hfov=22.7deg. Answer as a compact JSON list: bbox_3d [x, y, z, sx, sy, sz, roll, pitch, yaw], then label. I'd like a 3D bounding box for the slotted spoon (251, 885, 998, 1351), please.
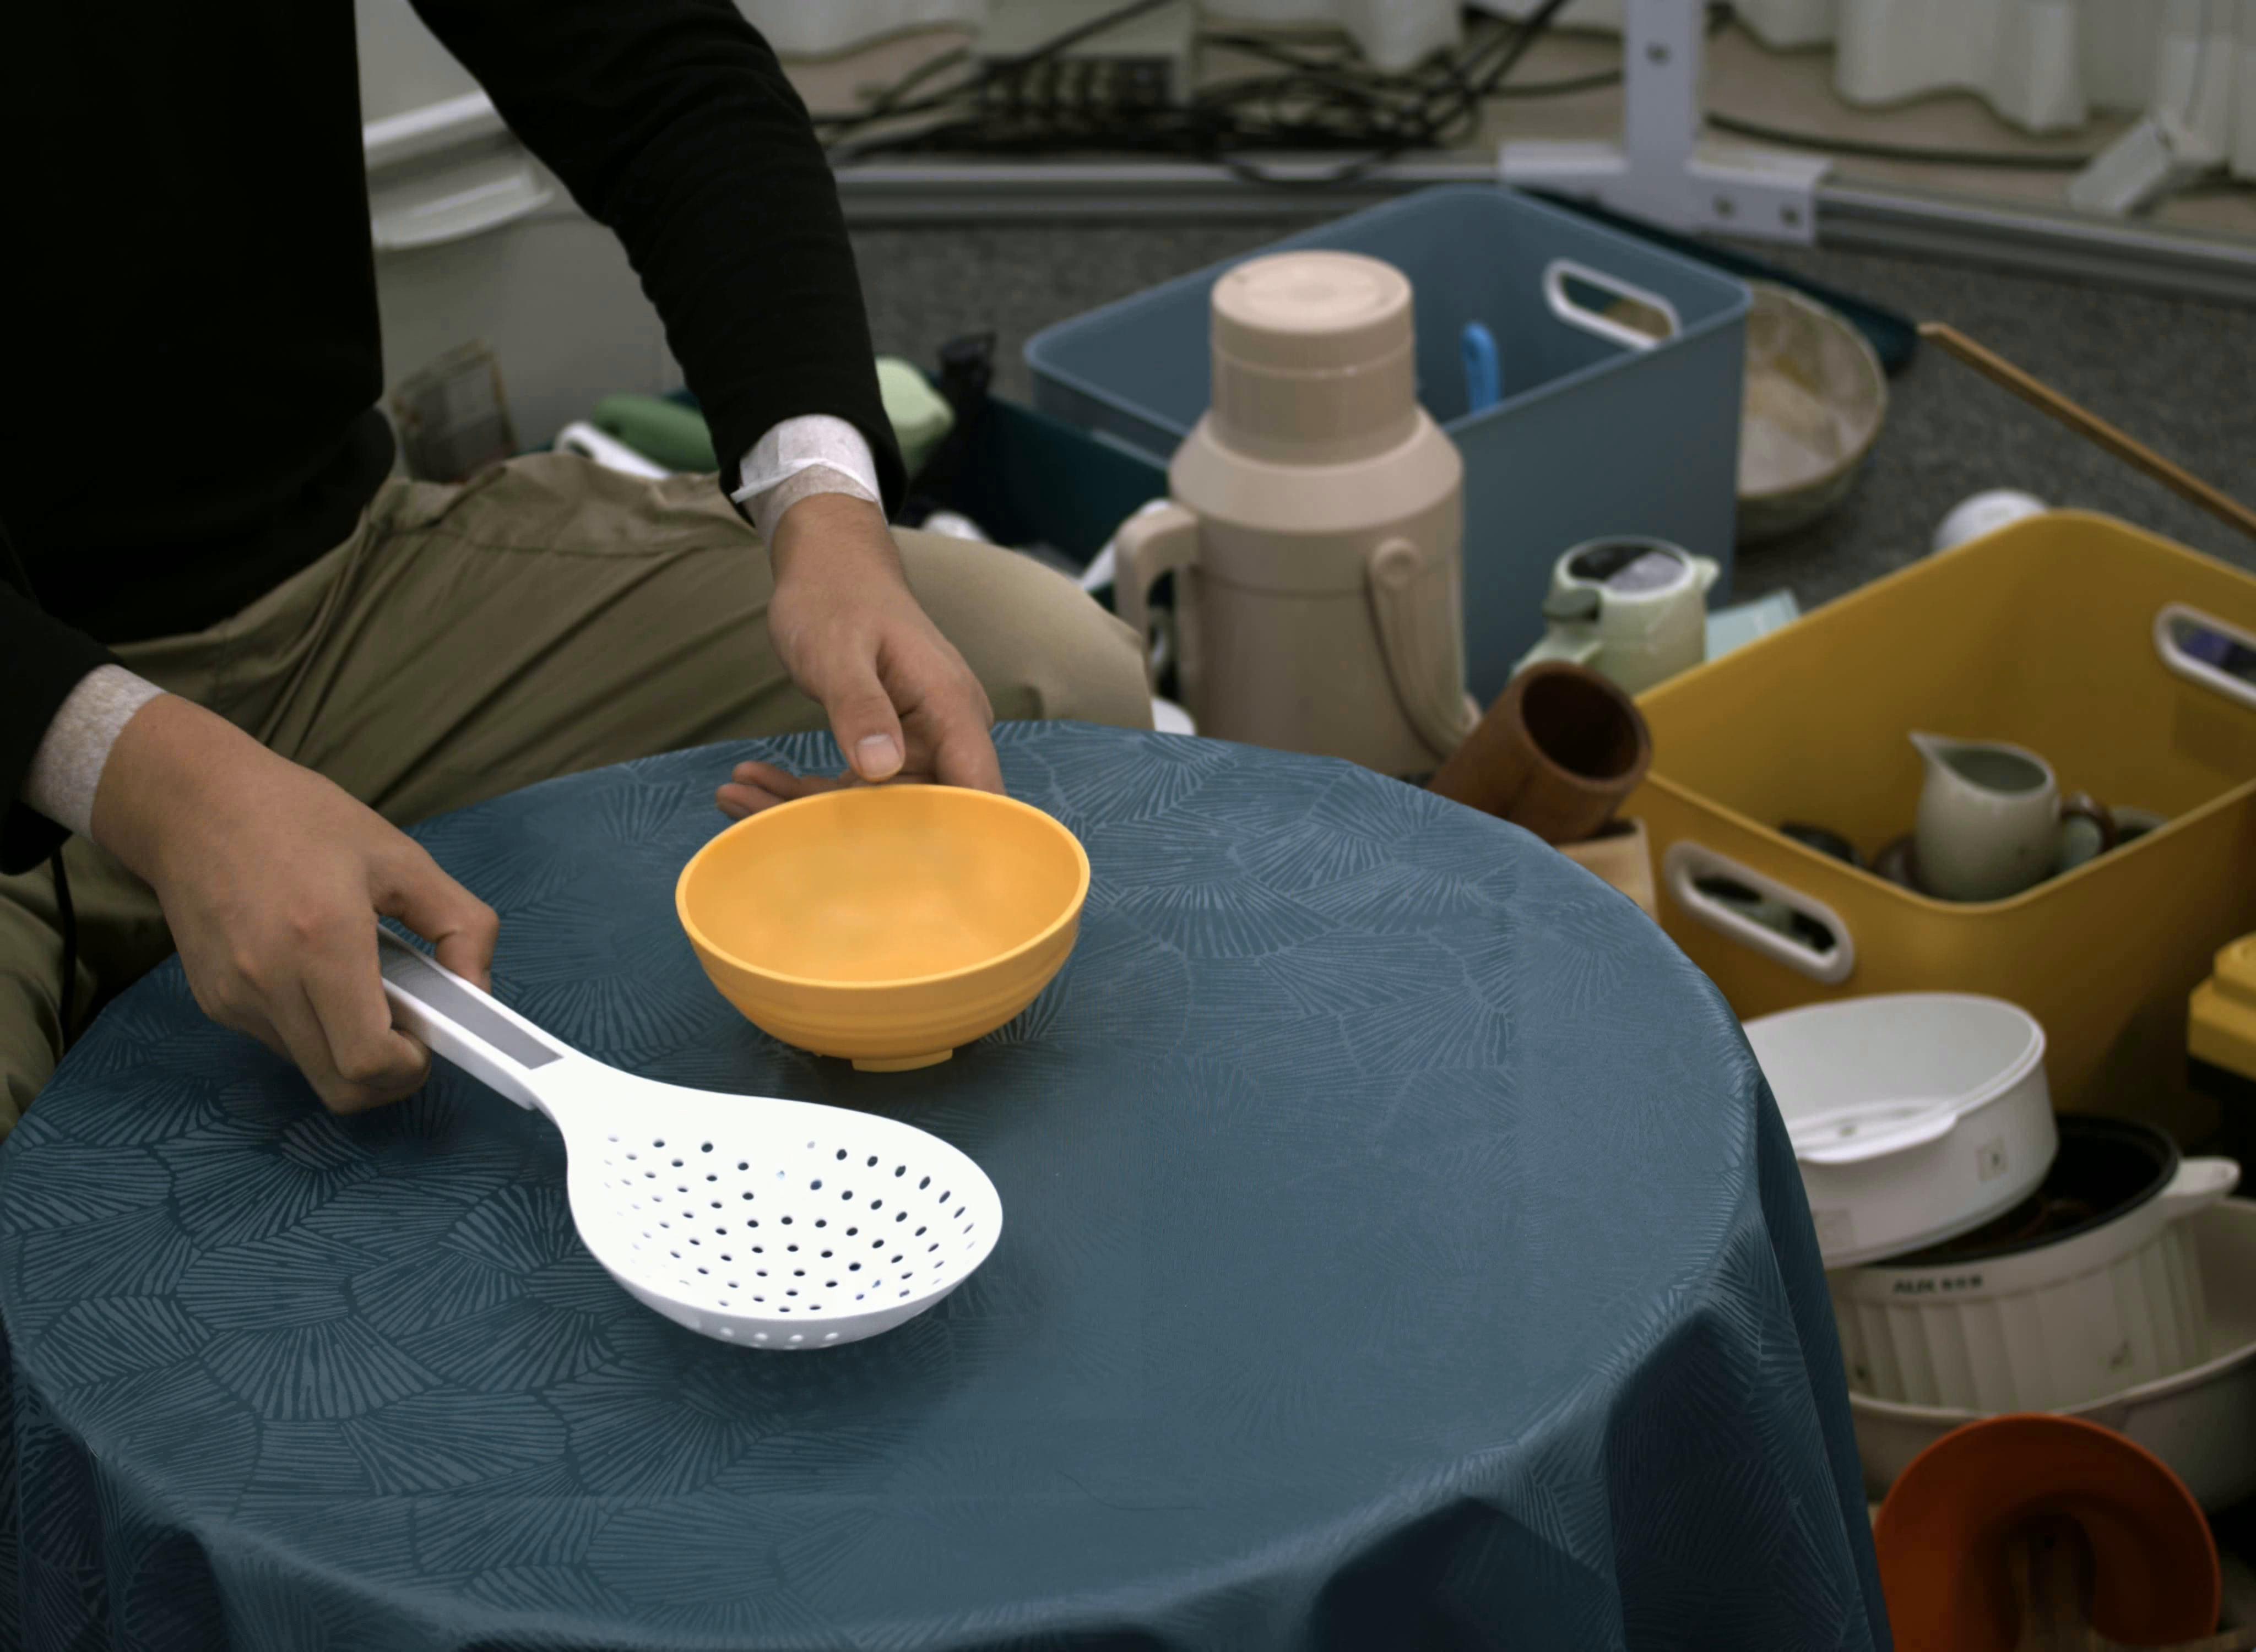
[{"bbox_3d":[-0.182,0.091,1.858,0.137,0.045,0.350,-20,39,-38],"label":"slotted spoon"}]

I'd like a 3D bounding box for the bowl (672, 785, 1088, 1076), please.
[{"bbox_3d":[-0.085,0.046,1.957,0.144,0.059,0.147,0,28,1],"label":"bowl"}]
